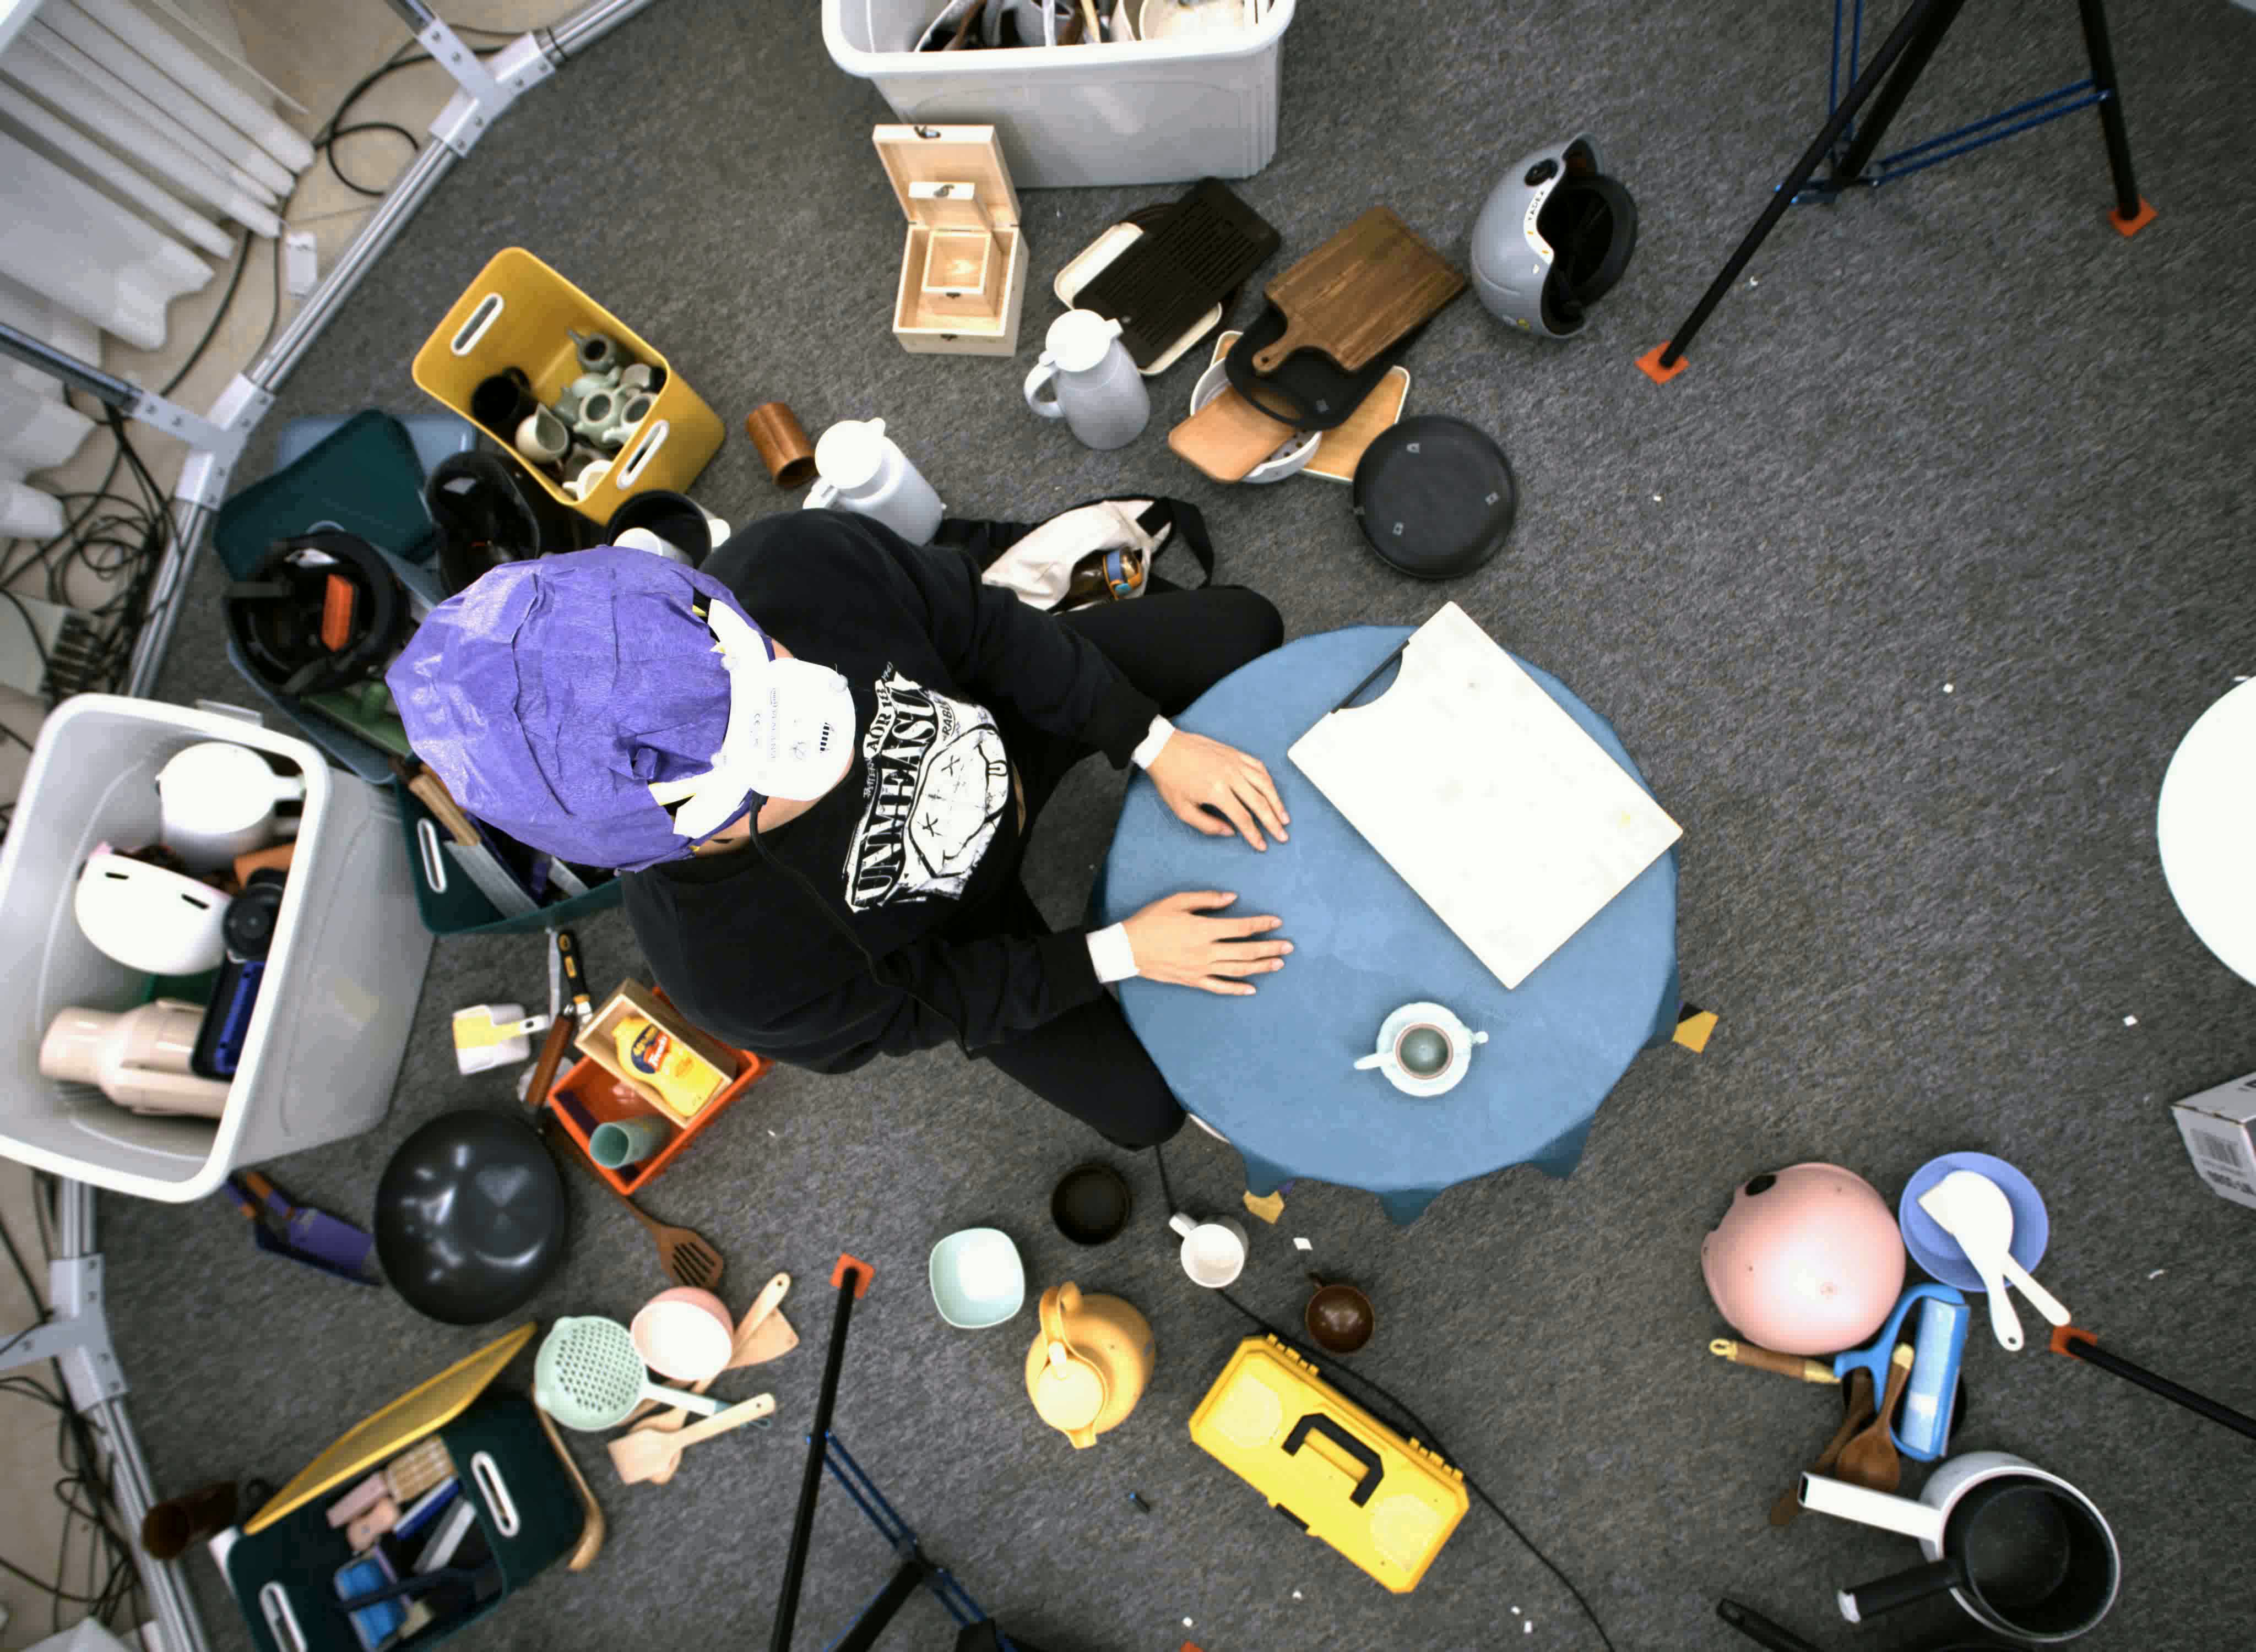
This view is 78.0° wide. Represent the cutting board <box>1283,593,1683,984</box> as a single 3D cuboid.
[{"bbox_3d":[0.366,-0.041,1.440,0.252,0.023,0.347,-44,80,6],"label":"cutting board"}]

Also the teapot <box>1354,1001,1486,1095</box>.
[{"bbox_3d":[0.298,0.228,1.418,0.138,0.061,0.096,-17,85,9],"label":"teapot"}]
